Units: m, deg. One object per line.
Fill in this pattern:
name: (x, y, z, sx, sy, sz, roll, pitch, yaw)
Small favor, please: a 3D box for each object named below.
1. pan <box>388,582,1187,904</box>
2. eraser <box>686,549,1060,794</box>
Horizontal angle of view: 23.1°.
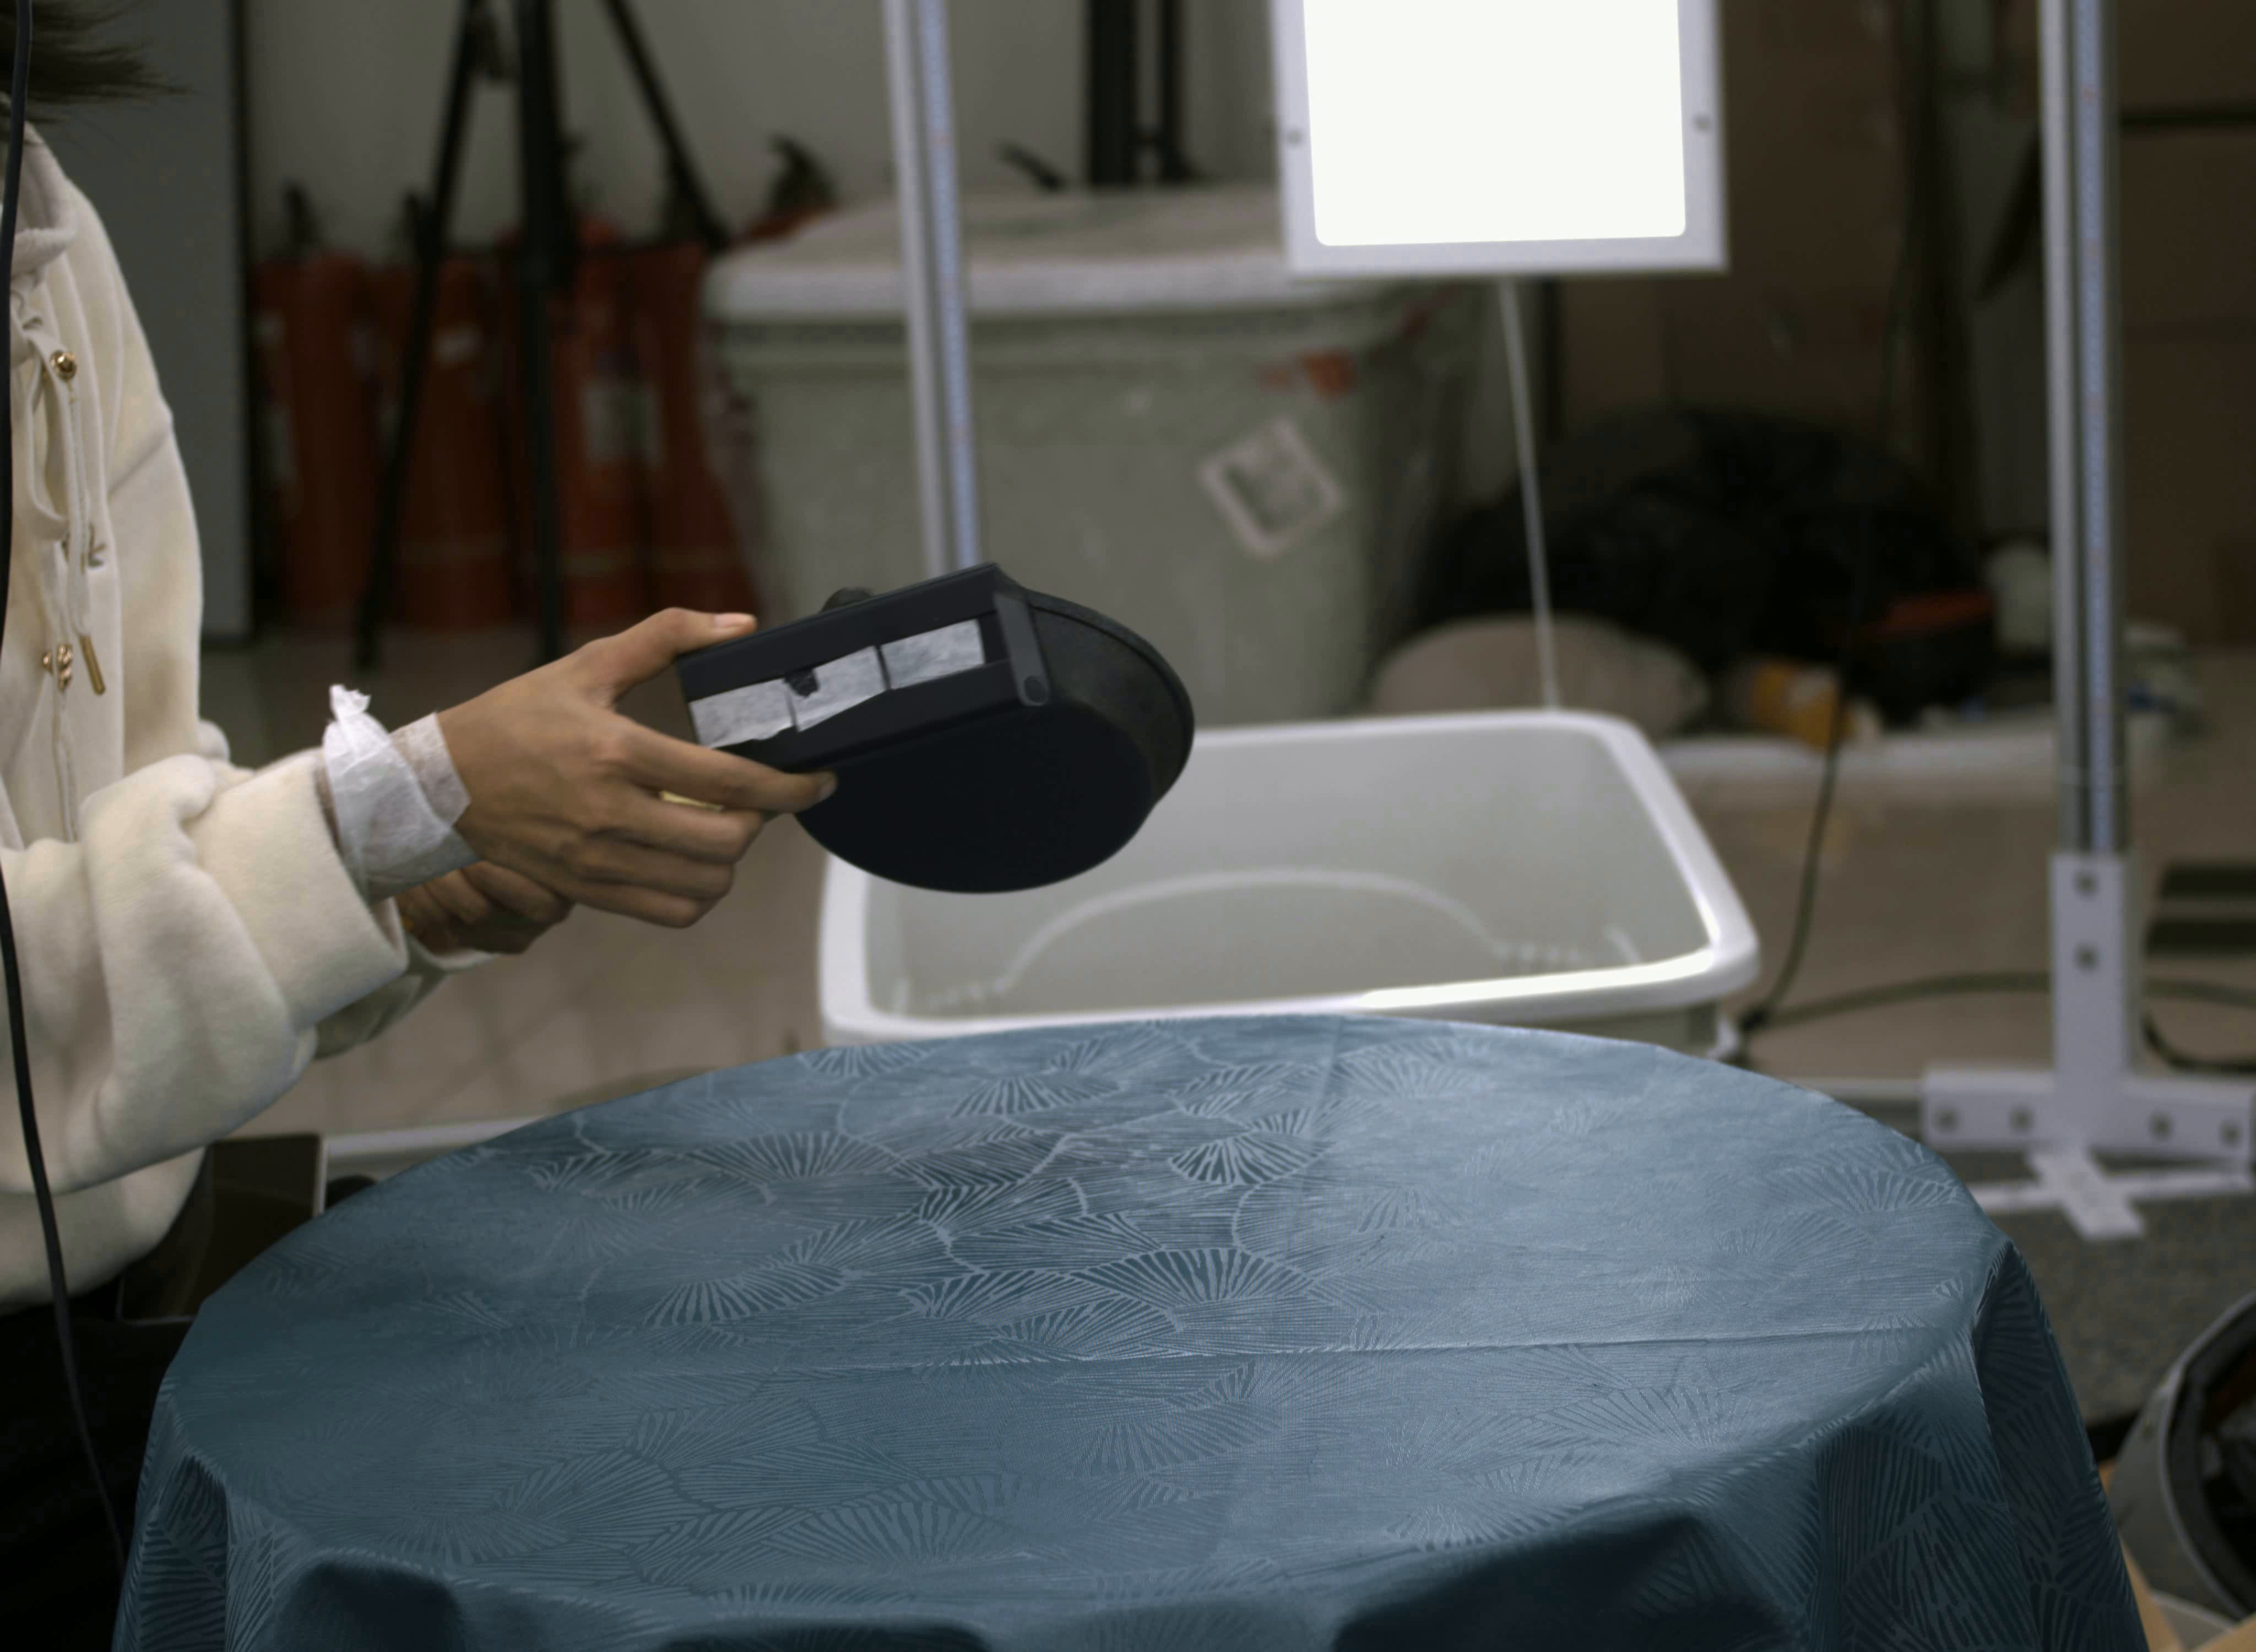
pan: (-0.130, -0.009, 1.963, 0.330, 0.166, 0.049, -17, 50, 28)
eraser: (-0.086, -0.052, 1.852, 0.127, 0.053, 0.030, -16, -4, 25)
